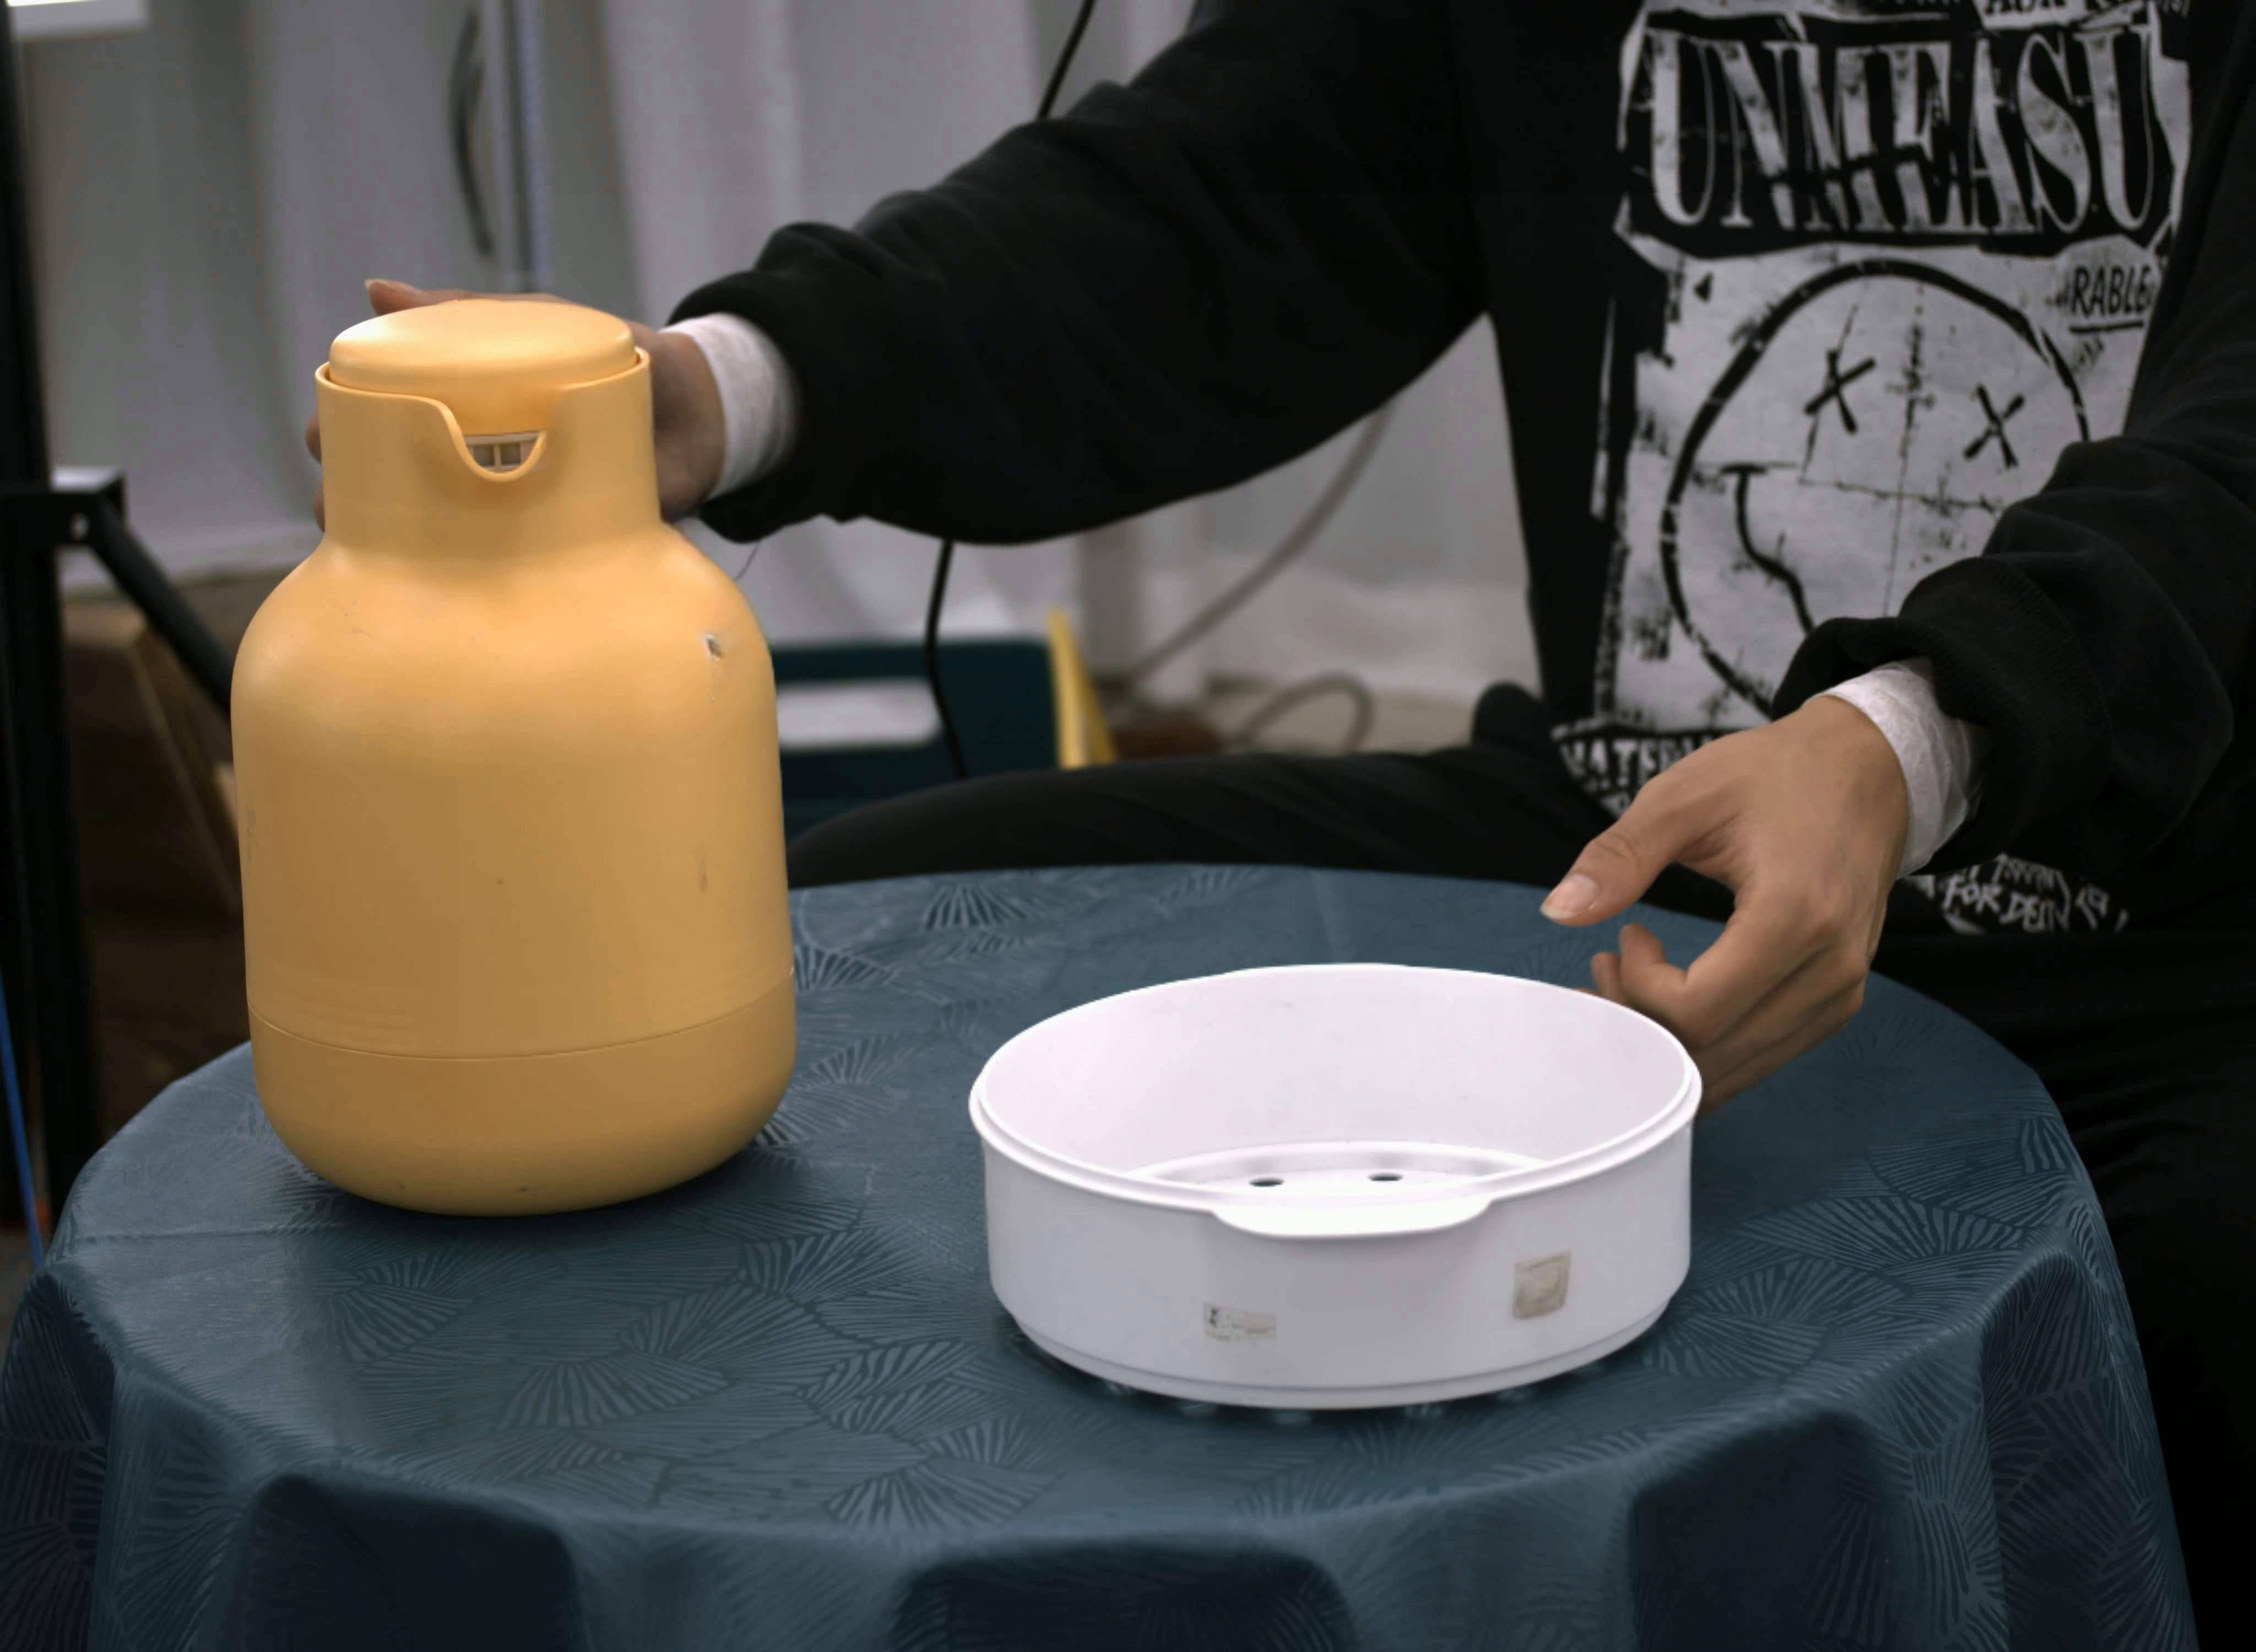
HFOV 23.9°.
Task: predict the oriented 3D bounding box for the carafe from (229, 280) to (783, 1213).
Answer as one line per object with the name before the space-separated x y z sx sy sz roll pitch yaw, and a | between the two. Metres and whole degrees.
carafe | -0.186 -0.032 1.599 0.162 0.260 0.204 -1 17 -6

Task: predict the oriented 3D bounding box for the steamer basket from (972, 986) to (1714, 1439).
steamer basket | 0.059 0.105 1.447 0.201 0.069 0.231 -3 16 1
